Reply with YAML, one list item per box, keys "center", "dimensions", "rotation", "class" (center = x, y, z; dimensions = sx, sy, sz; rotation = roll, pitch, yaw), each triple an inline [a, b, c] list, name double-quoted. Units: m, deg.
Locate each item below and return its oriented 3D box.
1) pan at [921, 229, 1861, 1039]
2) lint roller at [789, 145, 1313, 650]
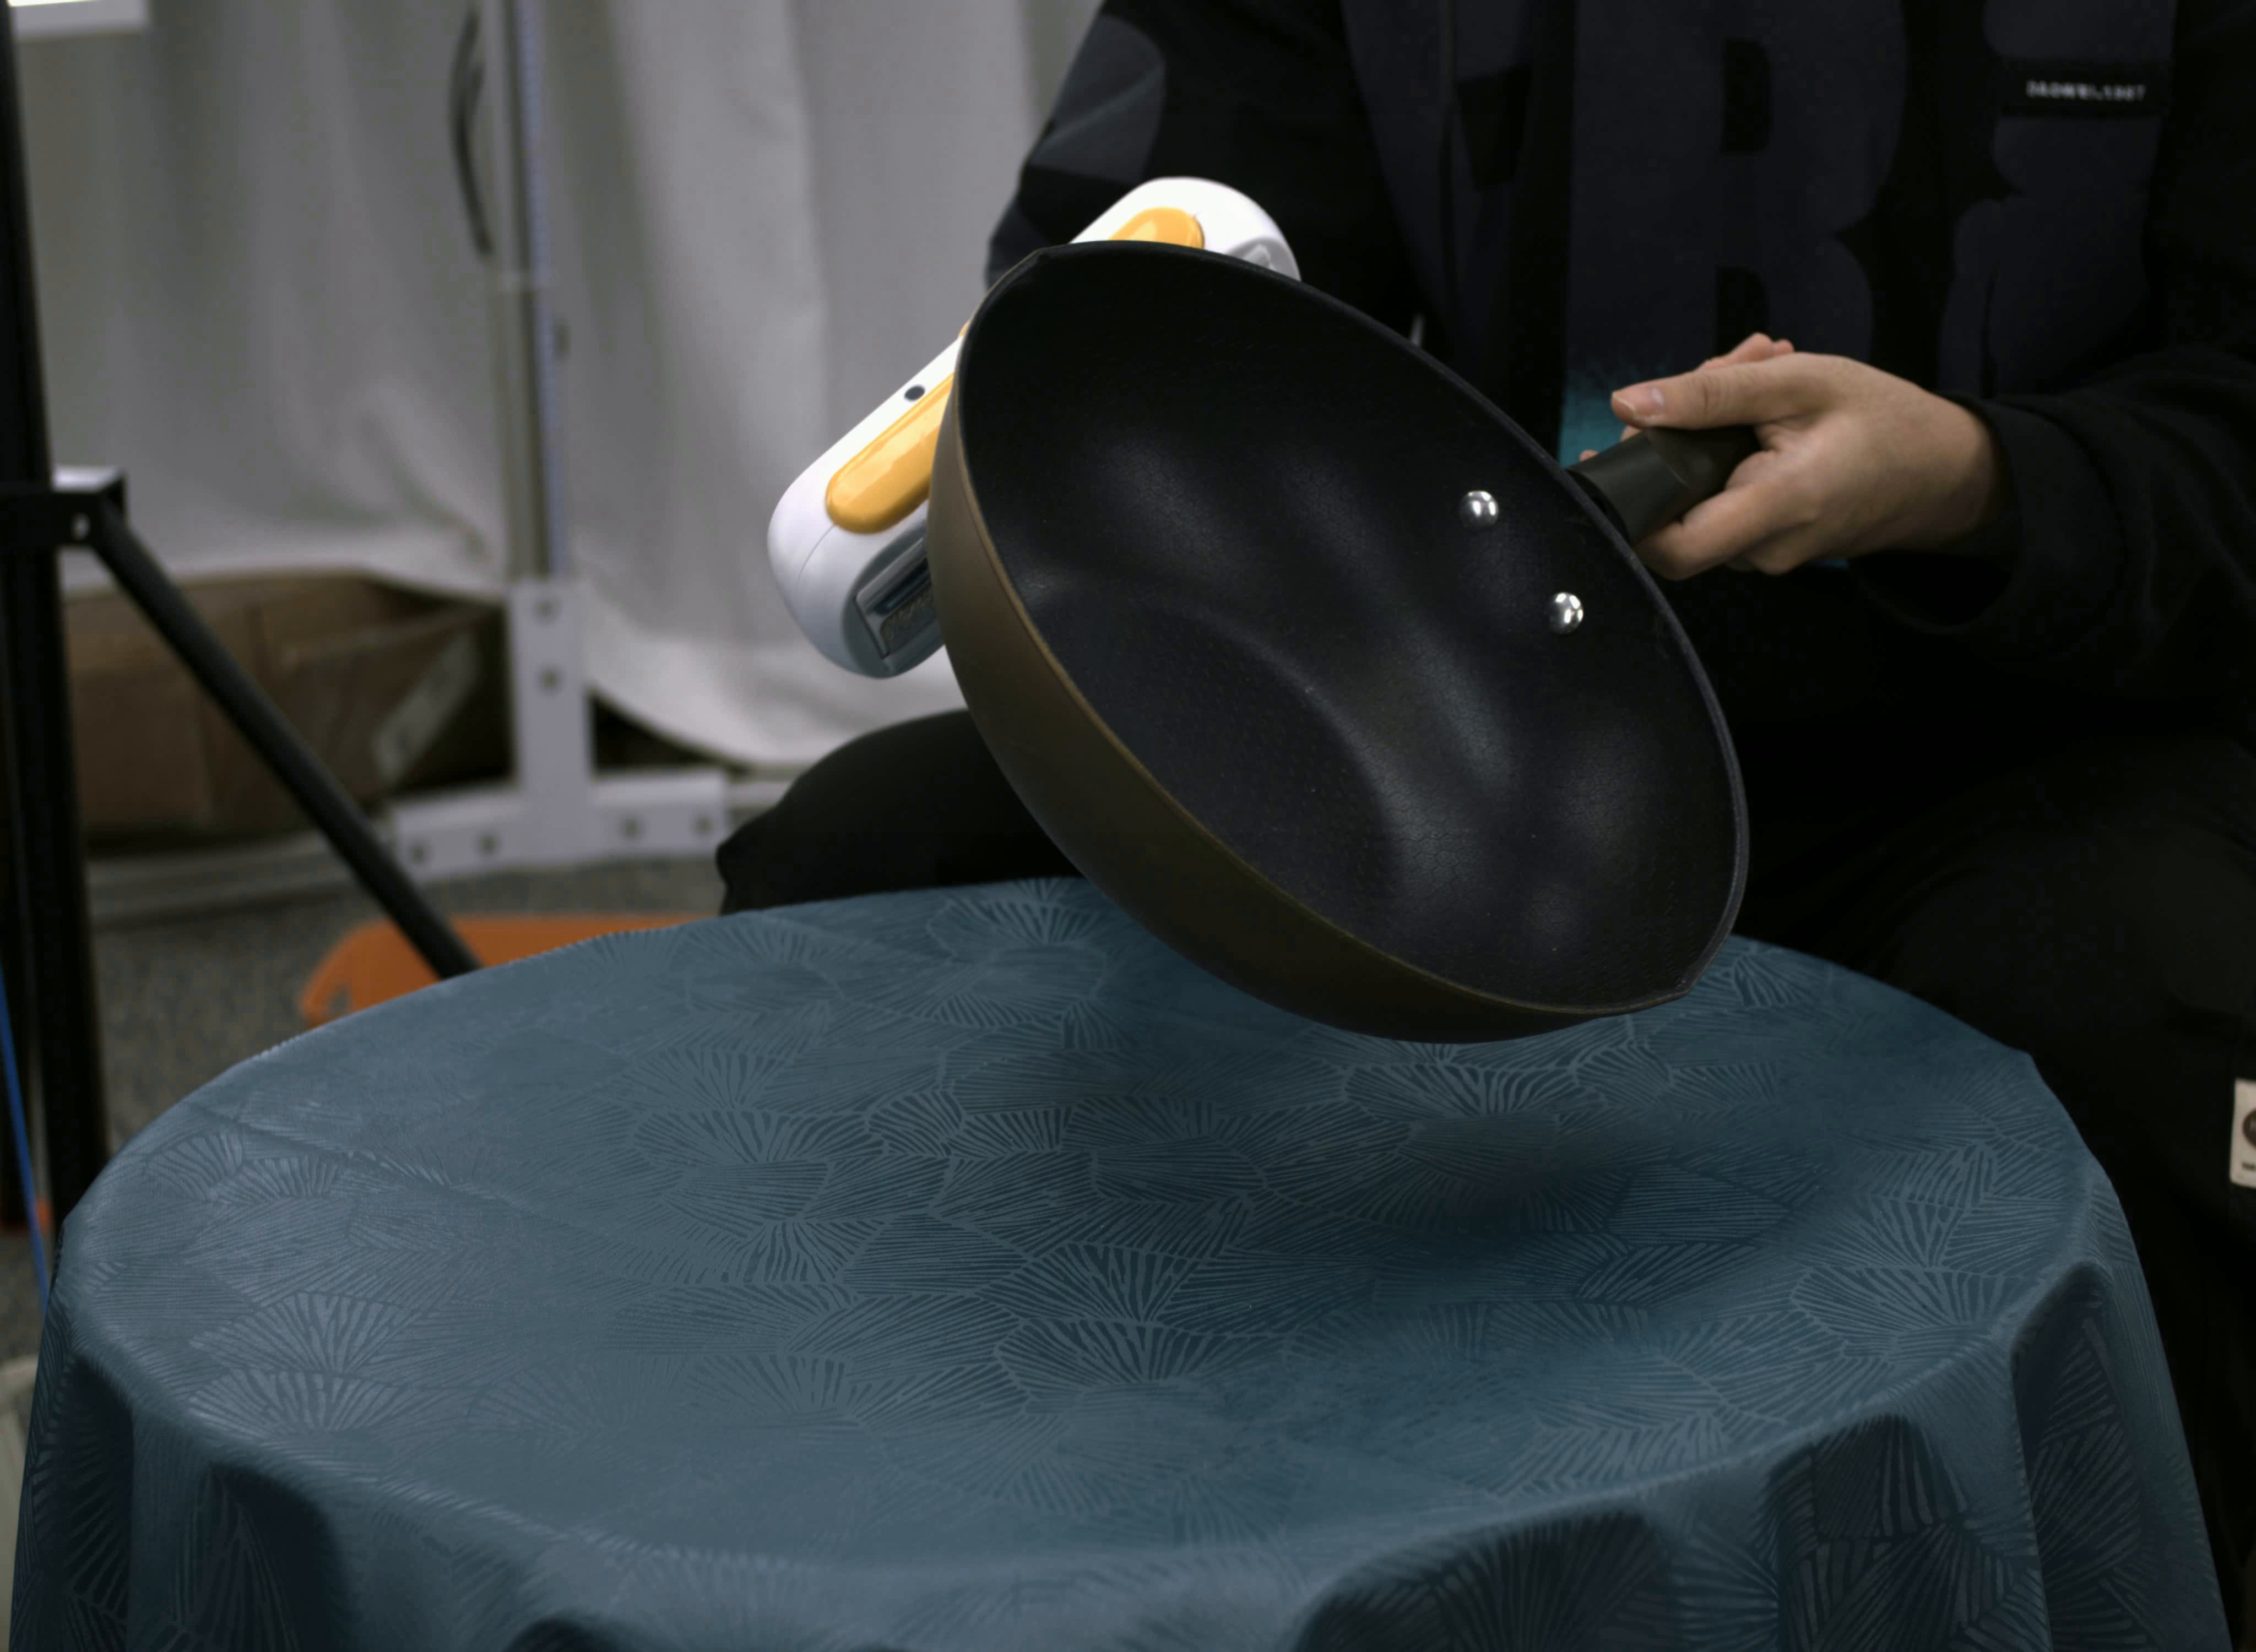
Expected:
- center: [0.093, -0.065, 1.615]
  dimensions: [0.291, 0.087, 0.455]
  rotation: [49, 35, 11]
  class: "pan"
- center: [-0.023, -0.108, 1.688]
  dimensions: [0.075, 0.190, 0.191]
  rotation: [38, 72, 23]
  class: "lint roller"
